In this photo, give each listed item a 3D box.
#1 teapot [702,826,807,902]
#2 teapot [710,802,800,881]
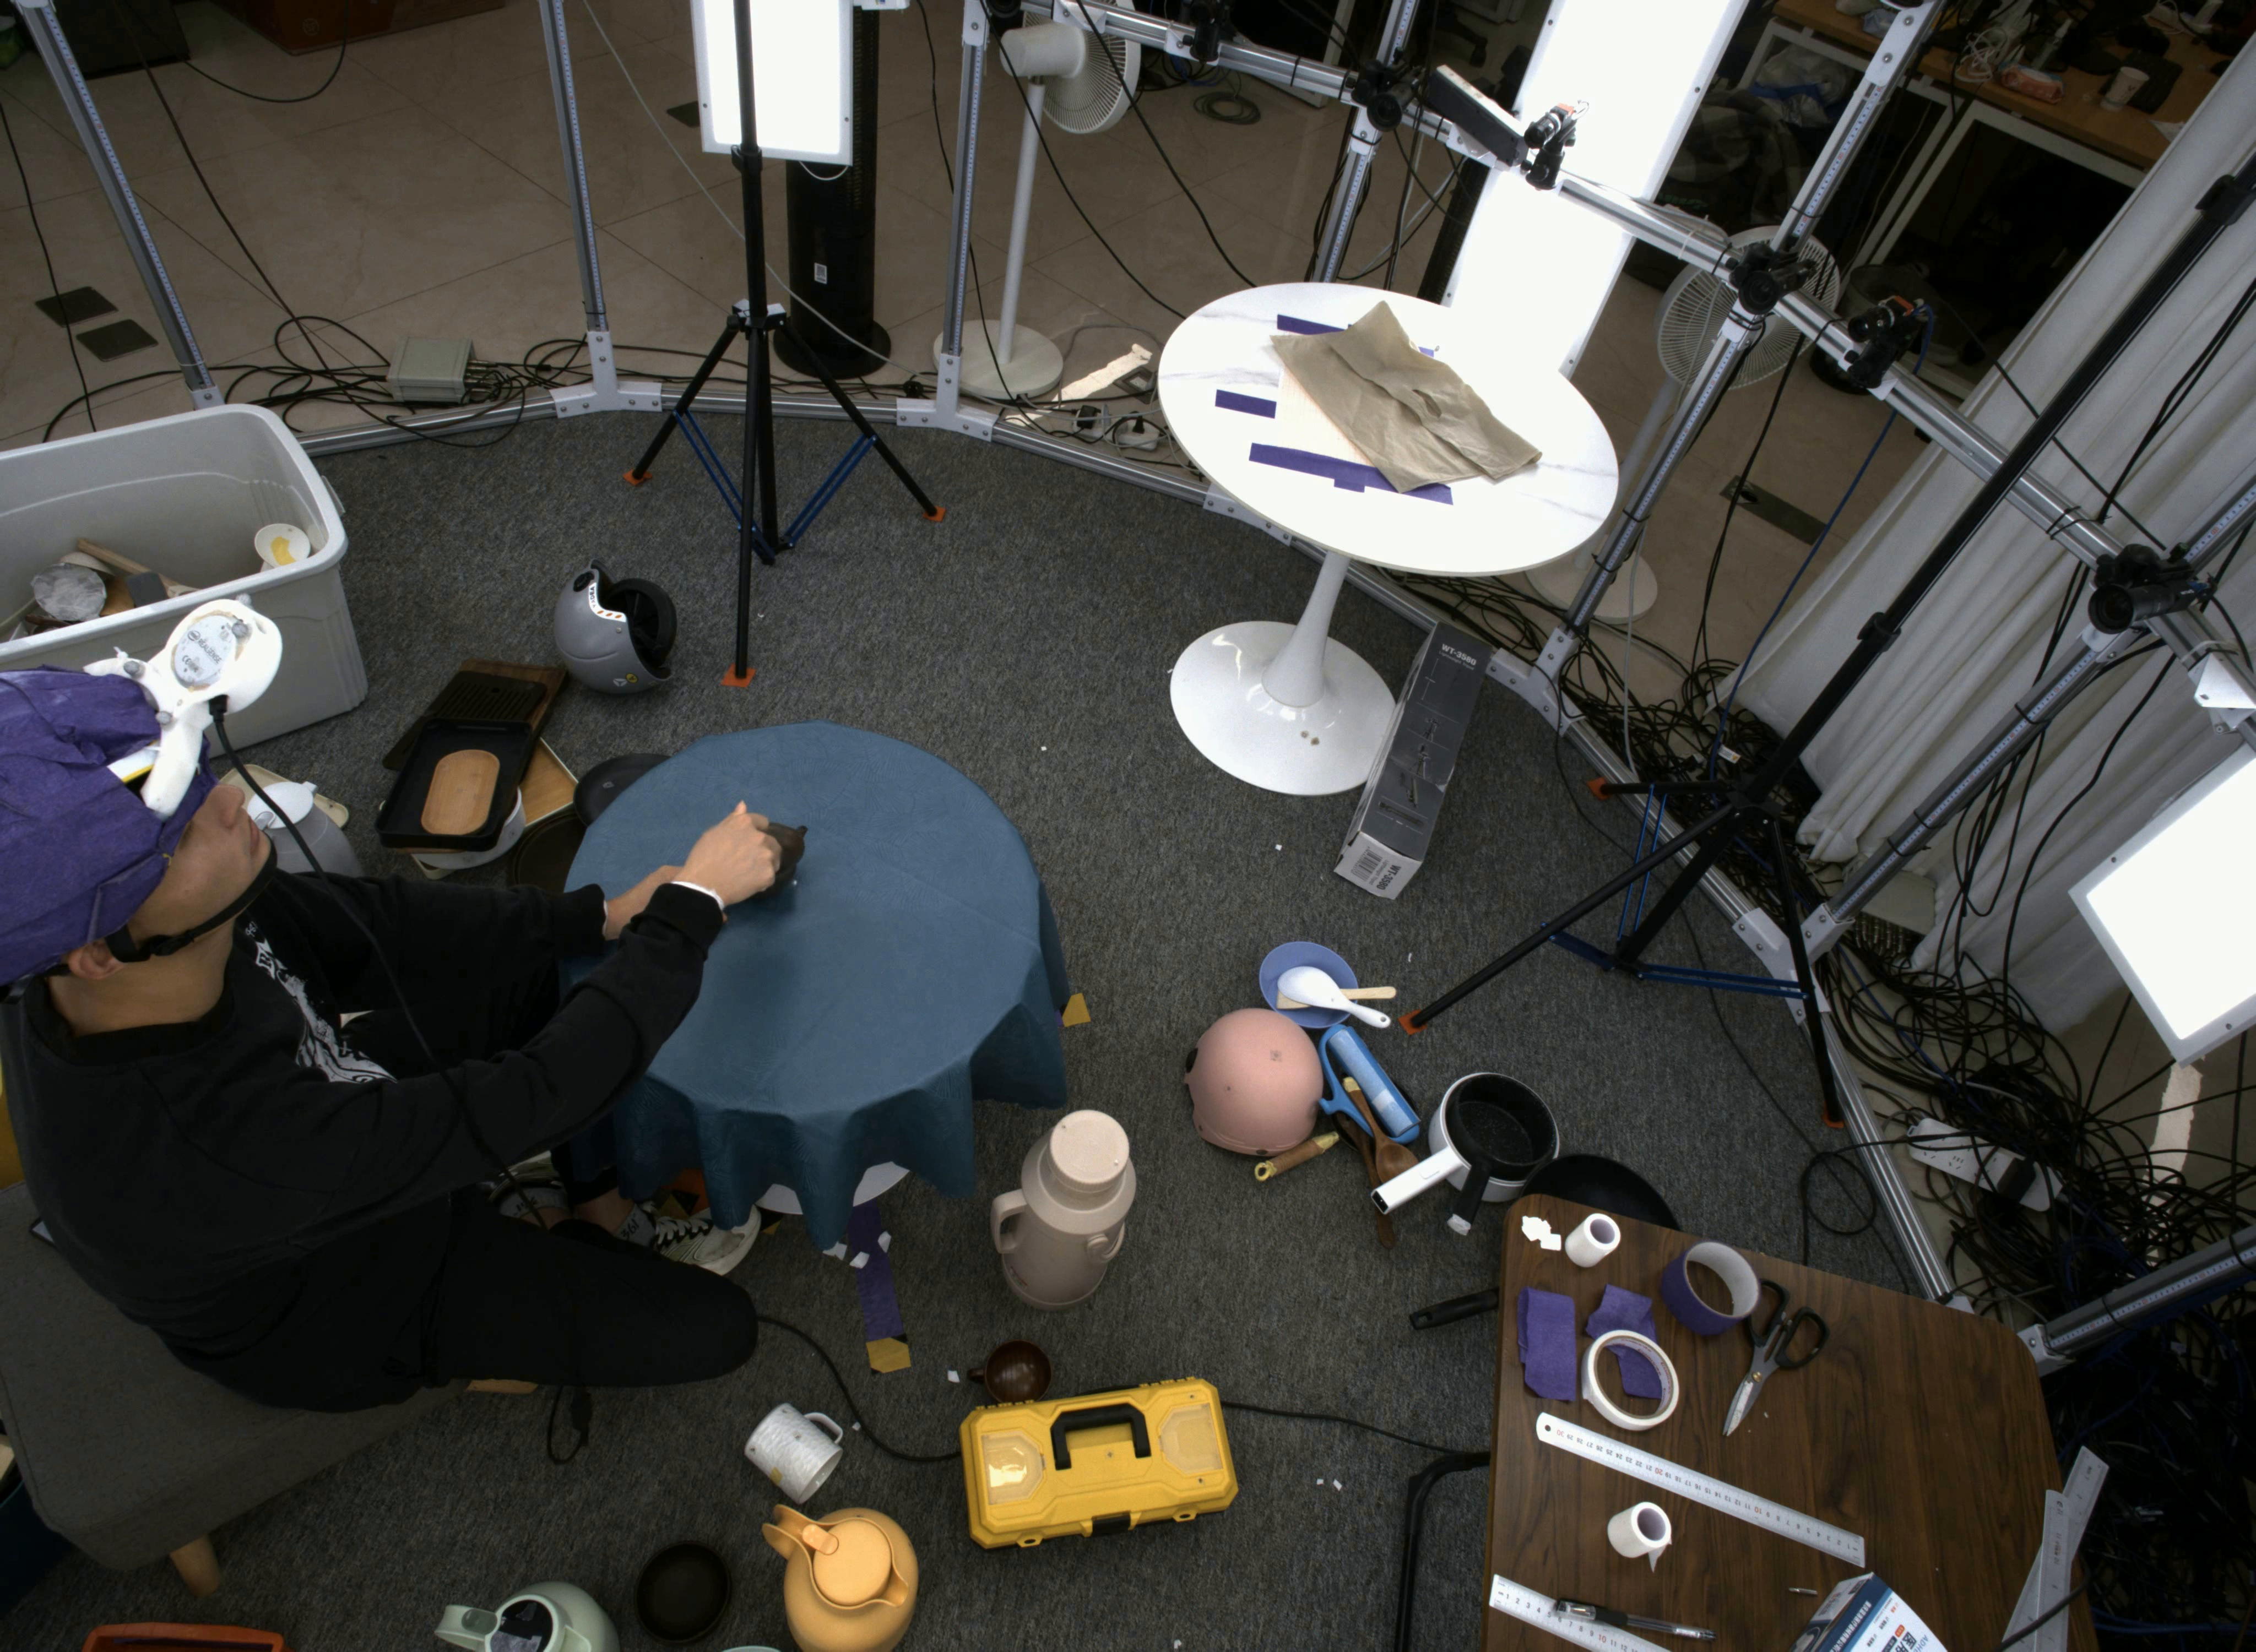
[{"bbox_3d":[-0.466,0.049,1.621,0.090,0.066,0.154,42,55,19],"label":"teapot"},{"bbox_3d":[-0.430,0.021,1.489,0.103,0.155,0.053,-13,66,-21],"label":"teapot"}]
